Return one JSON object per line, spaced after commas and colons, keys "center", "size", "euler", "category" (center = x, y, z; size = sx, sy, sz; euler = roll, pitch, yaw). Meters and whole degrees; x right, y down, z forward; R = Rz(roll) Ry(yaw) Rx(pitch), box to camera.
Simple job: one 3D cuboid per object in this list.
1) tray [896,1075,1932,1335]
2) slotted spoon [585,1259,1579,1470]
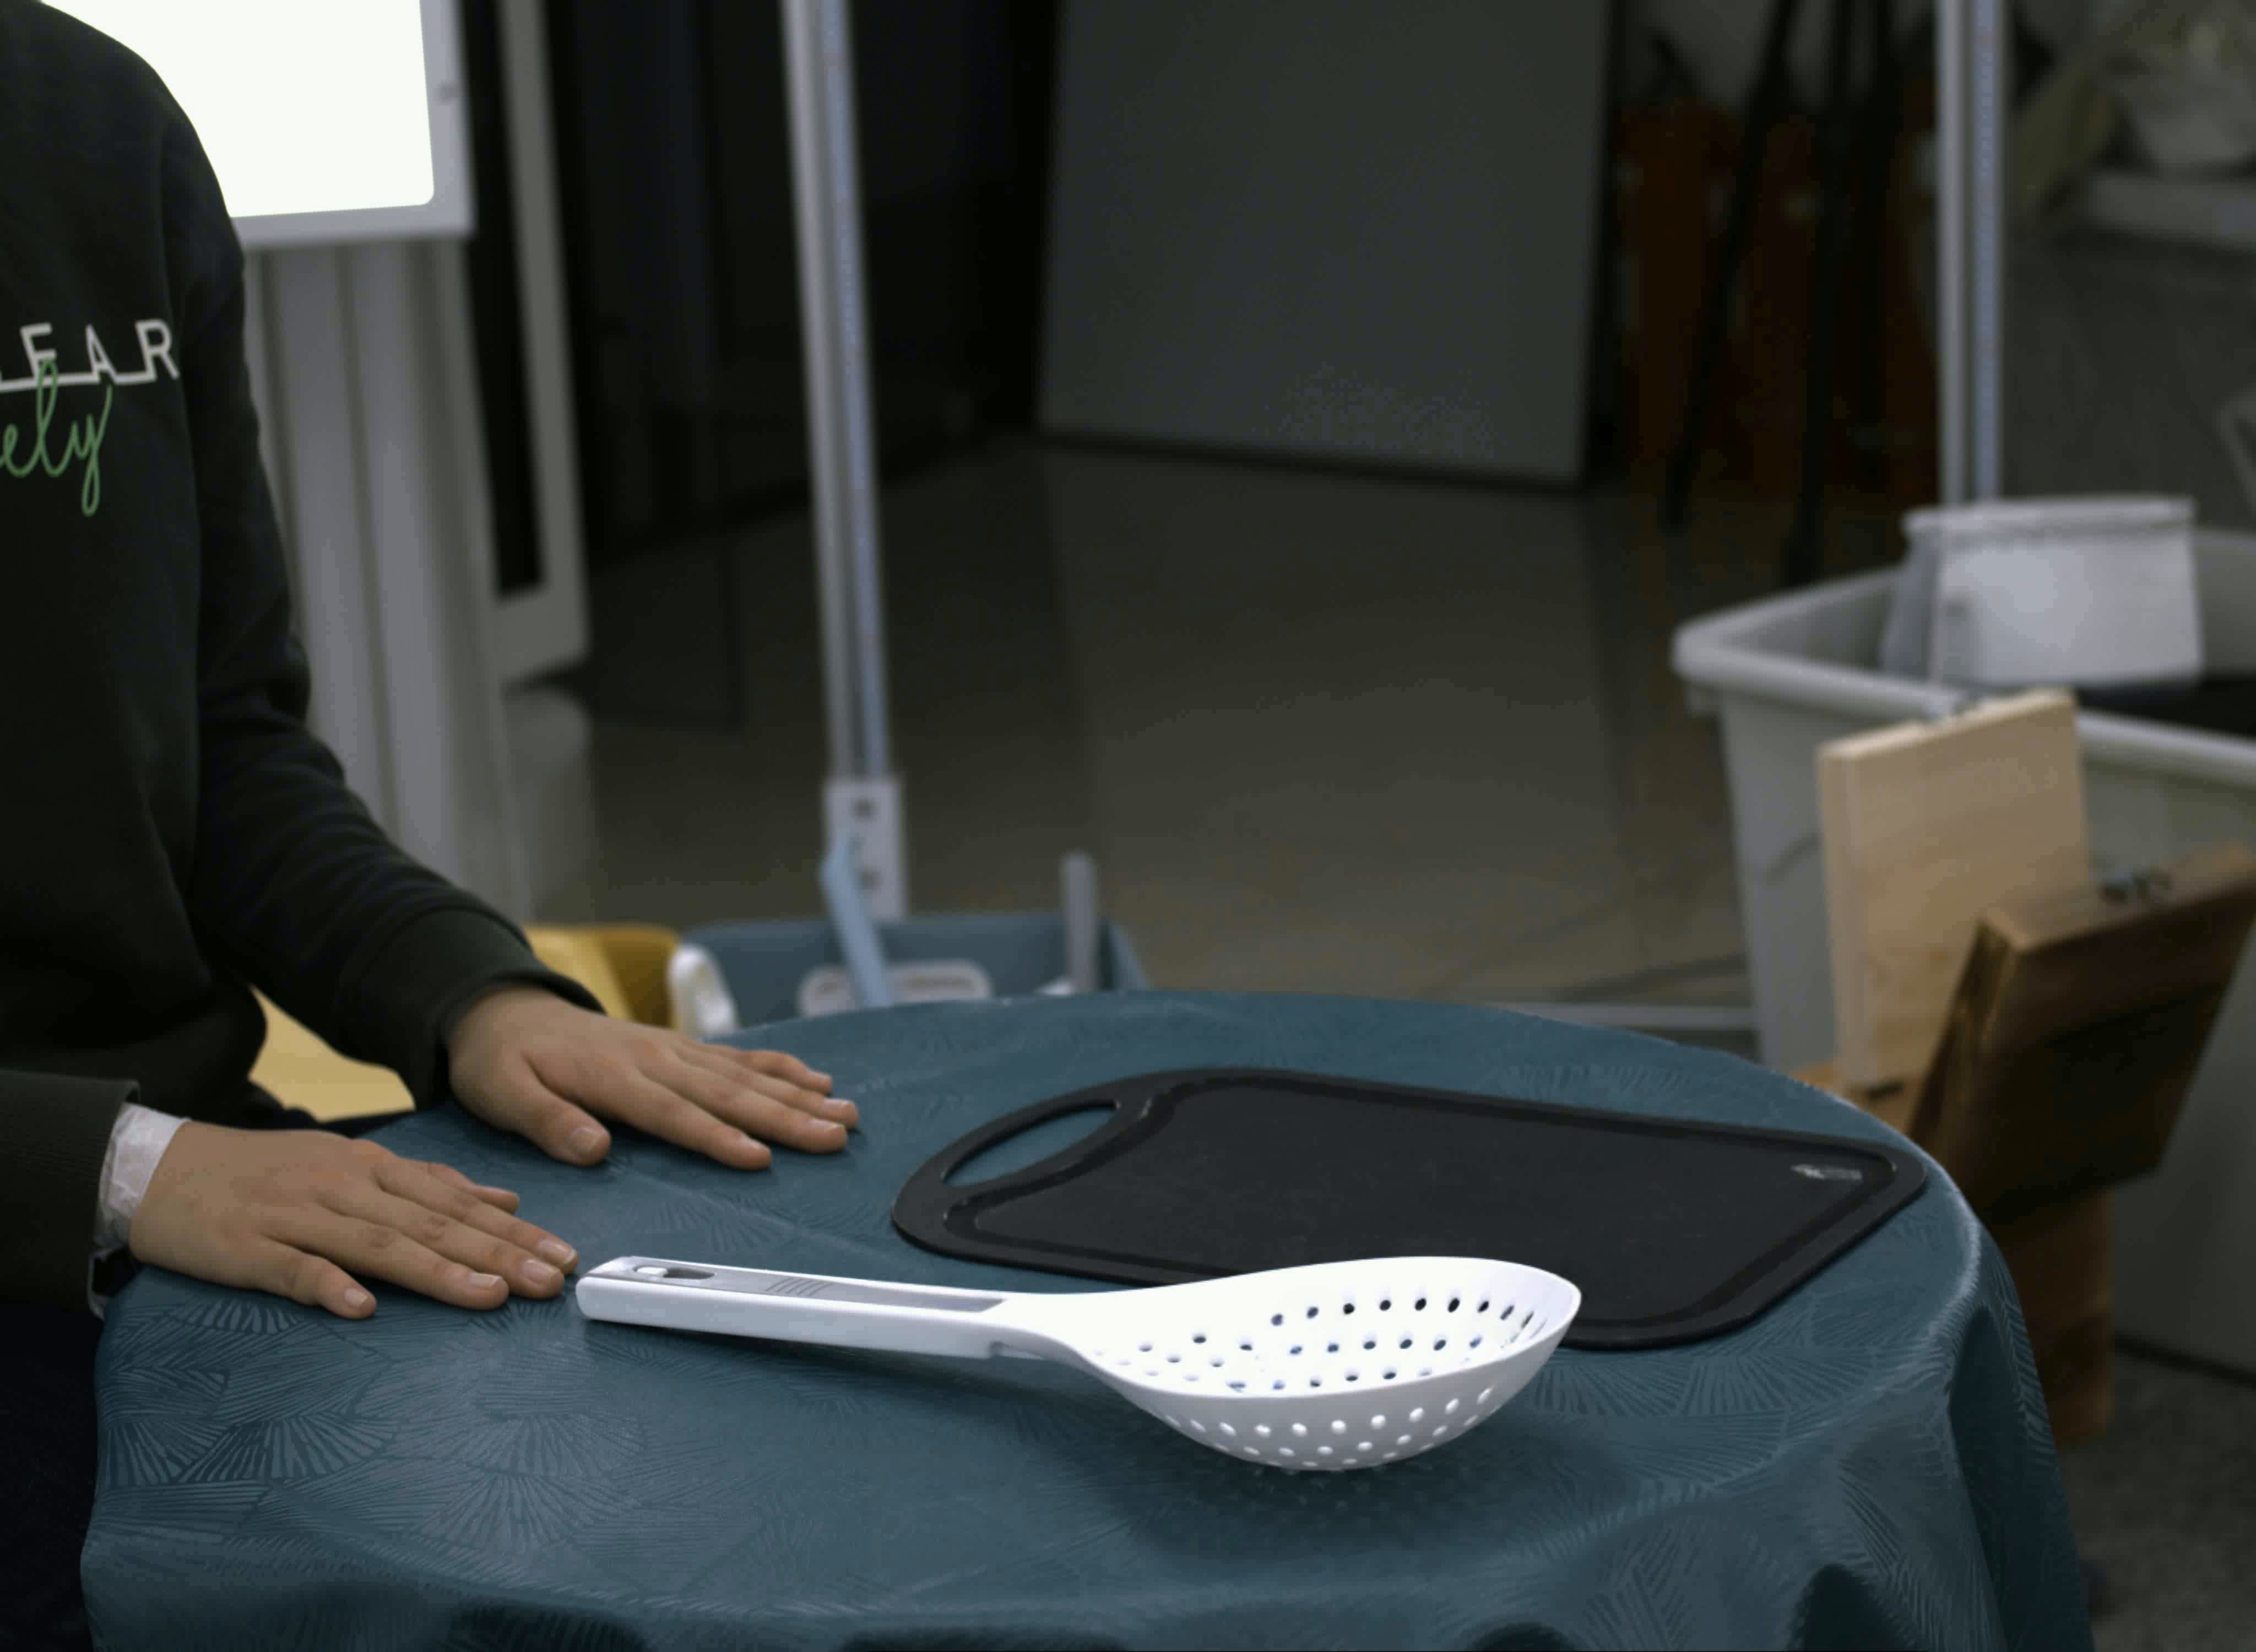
{"center": [0.084, 0.118, 1.744], "size": [0.327, 0.010, 0.207], "euler": [5, 16, 33], "category": "tray"}
{"center": [-0.025, 0.147, 1.580], "size": [0.352, 0.046, 0.133], "euler": [5, 14, 37], "category": "slotted spoon"}
